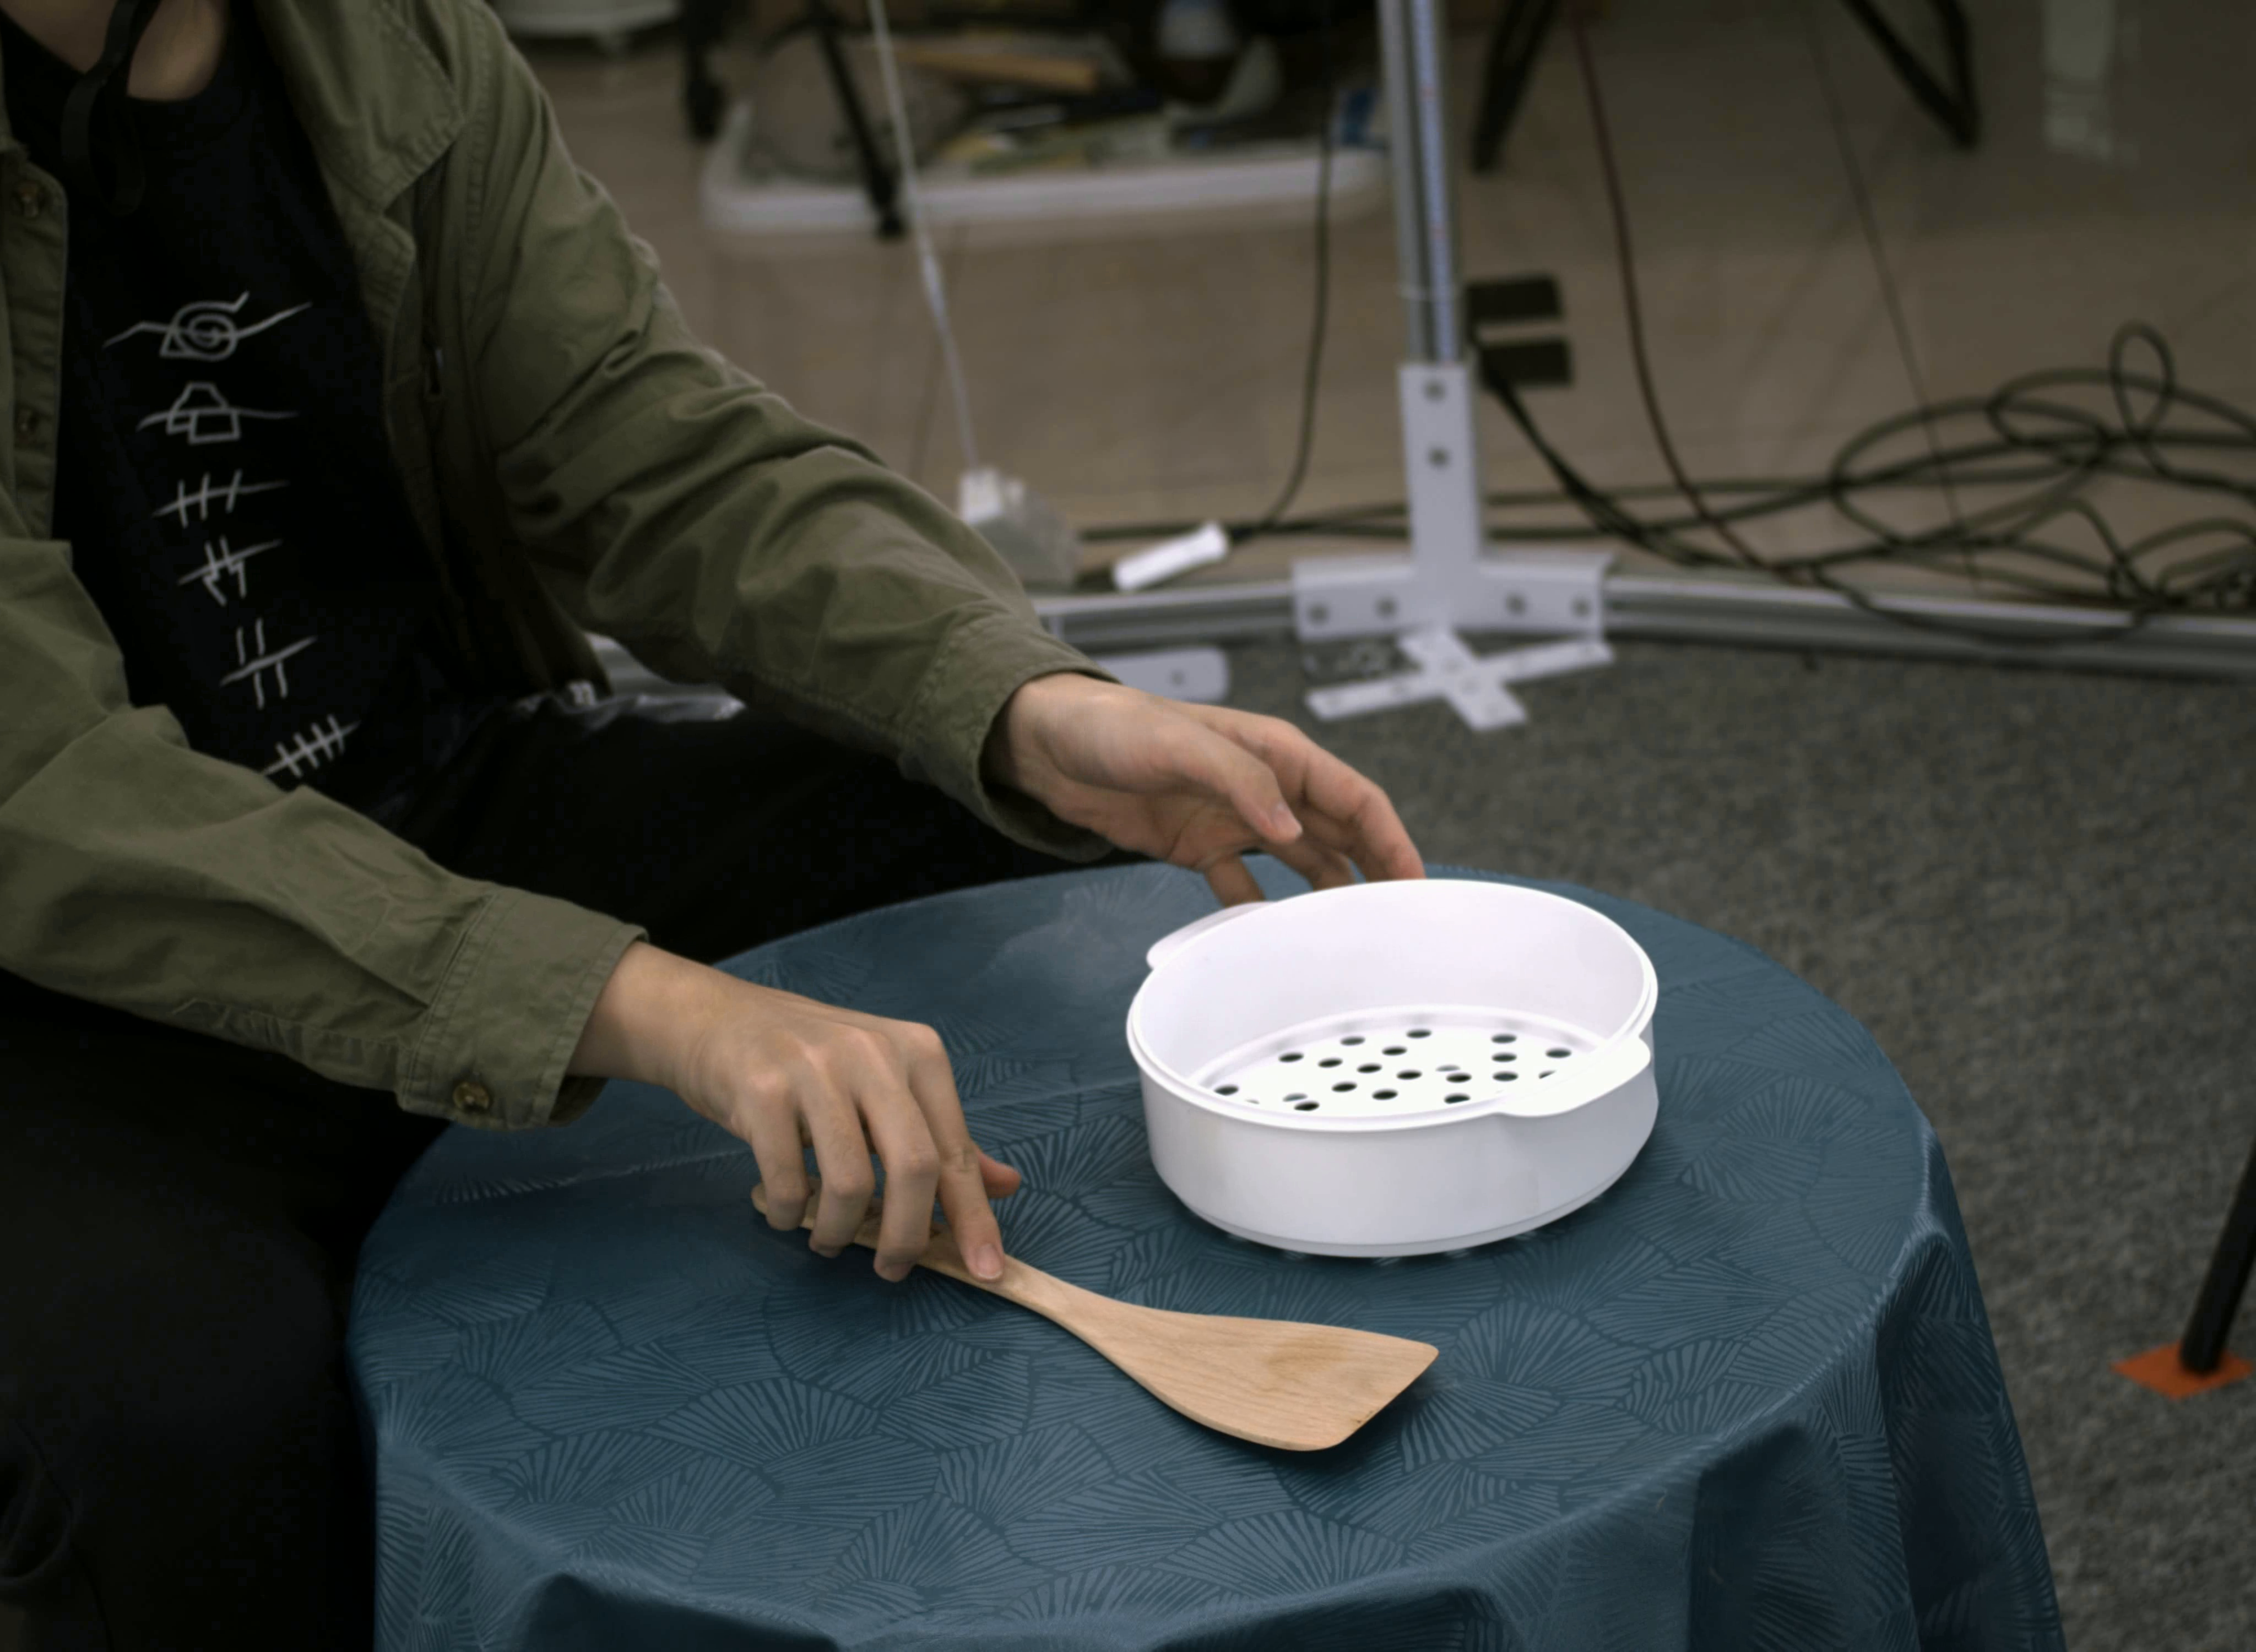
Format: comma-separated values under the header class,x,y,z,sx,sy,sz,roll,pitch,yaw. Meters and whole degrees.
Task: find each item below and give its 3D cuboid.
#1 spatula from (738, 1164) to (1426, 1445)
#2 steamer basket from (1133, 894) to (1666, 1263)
class,x,y,z,sx,sy,sz,roll,pitch,yaw
spatula,-0.027,0.167,2.078,0.325,0.017,0.079,17,34,40
steamer basket,0.105,0.096,2.142,0.200,0.070,0.228,-25,29,-34
